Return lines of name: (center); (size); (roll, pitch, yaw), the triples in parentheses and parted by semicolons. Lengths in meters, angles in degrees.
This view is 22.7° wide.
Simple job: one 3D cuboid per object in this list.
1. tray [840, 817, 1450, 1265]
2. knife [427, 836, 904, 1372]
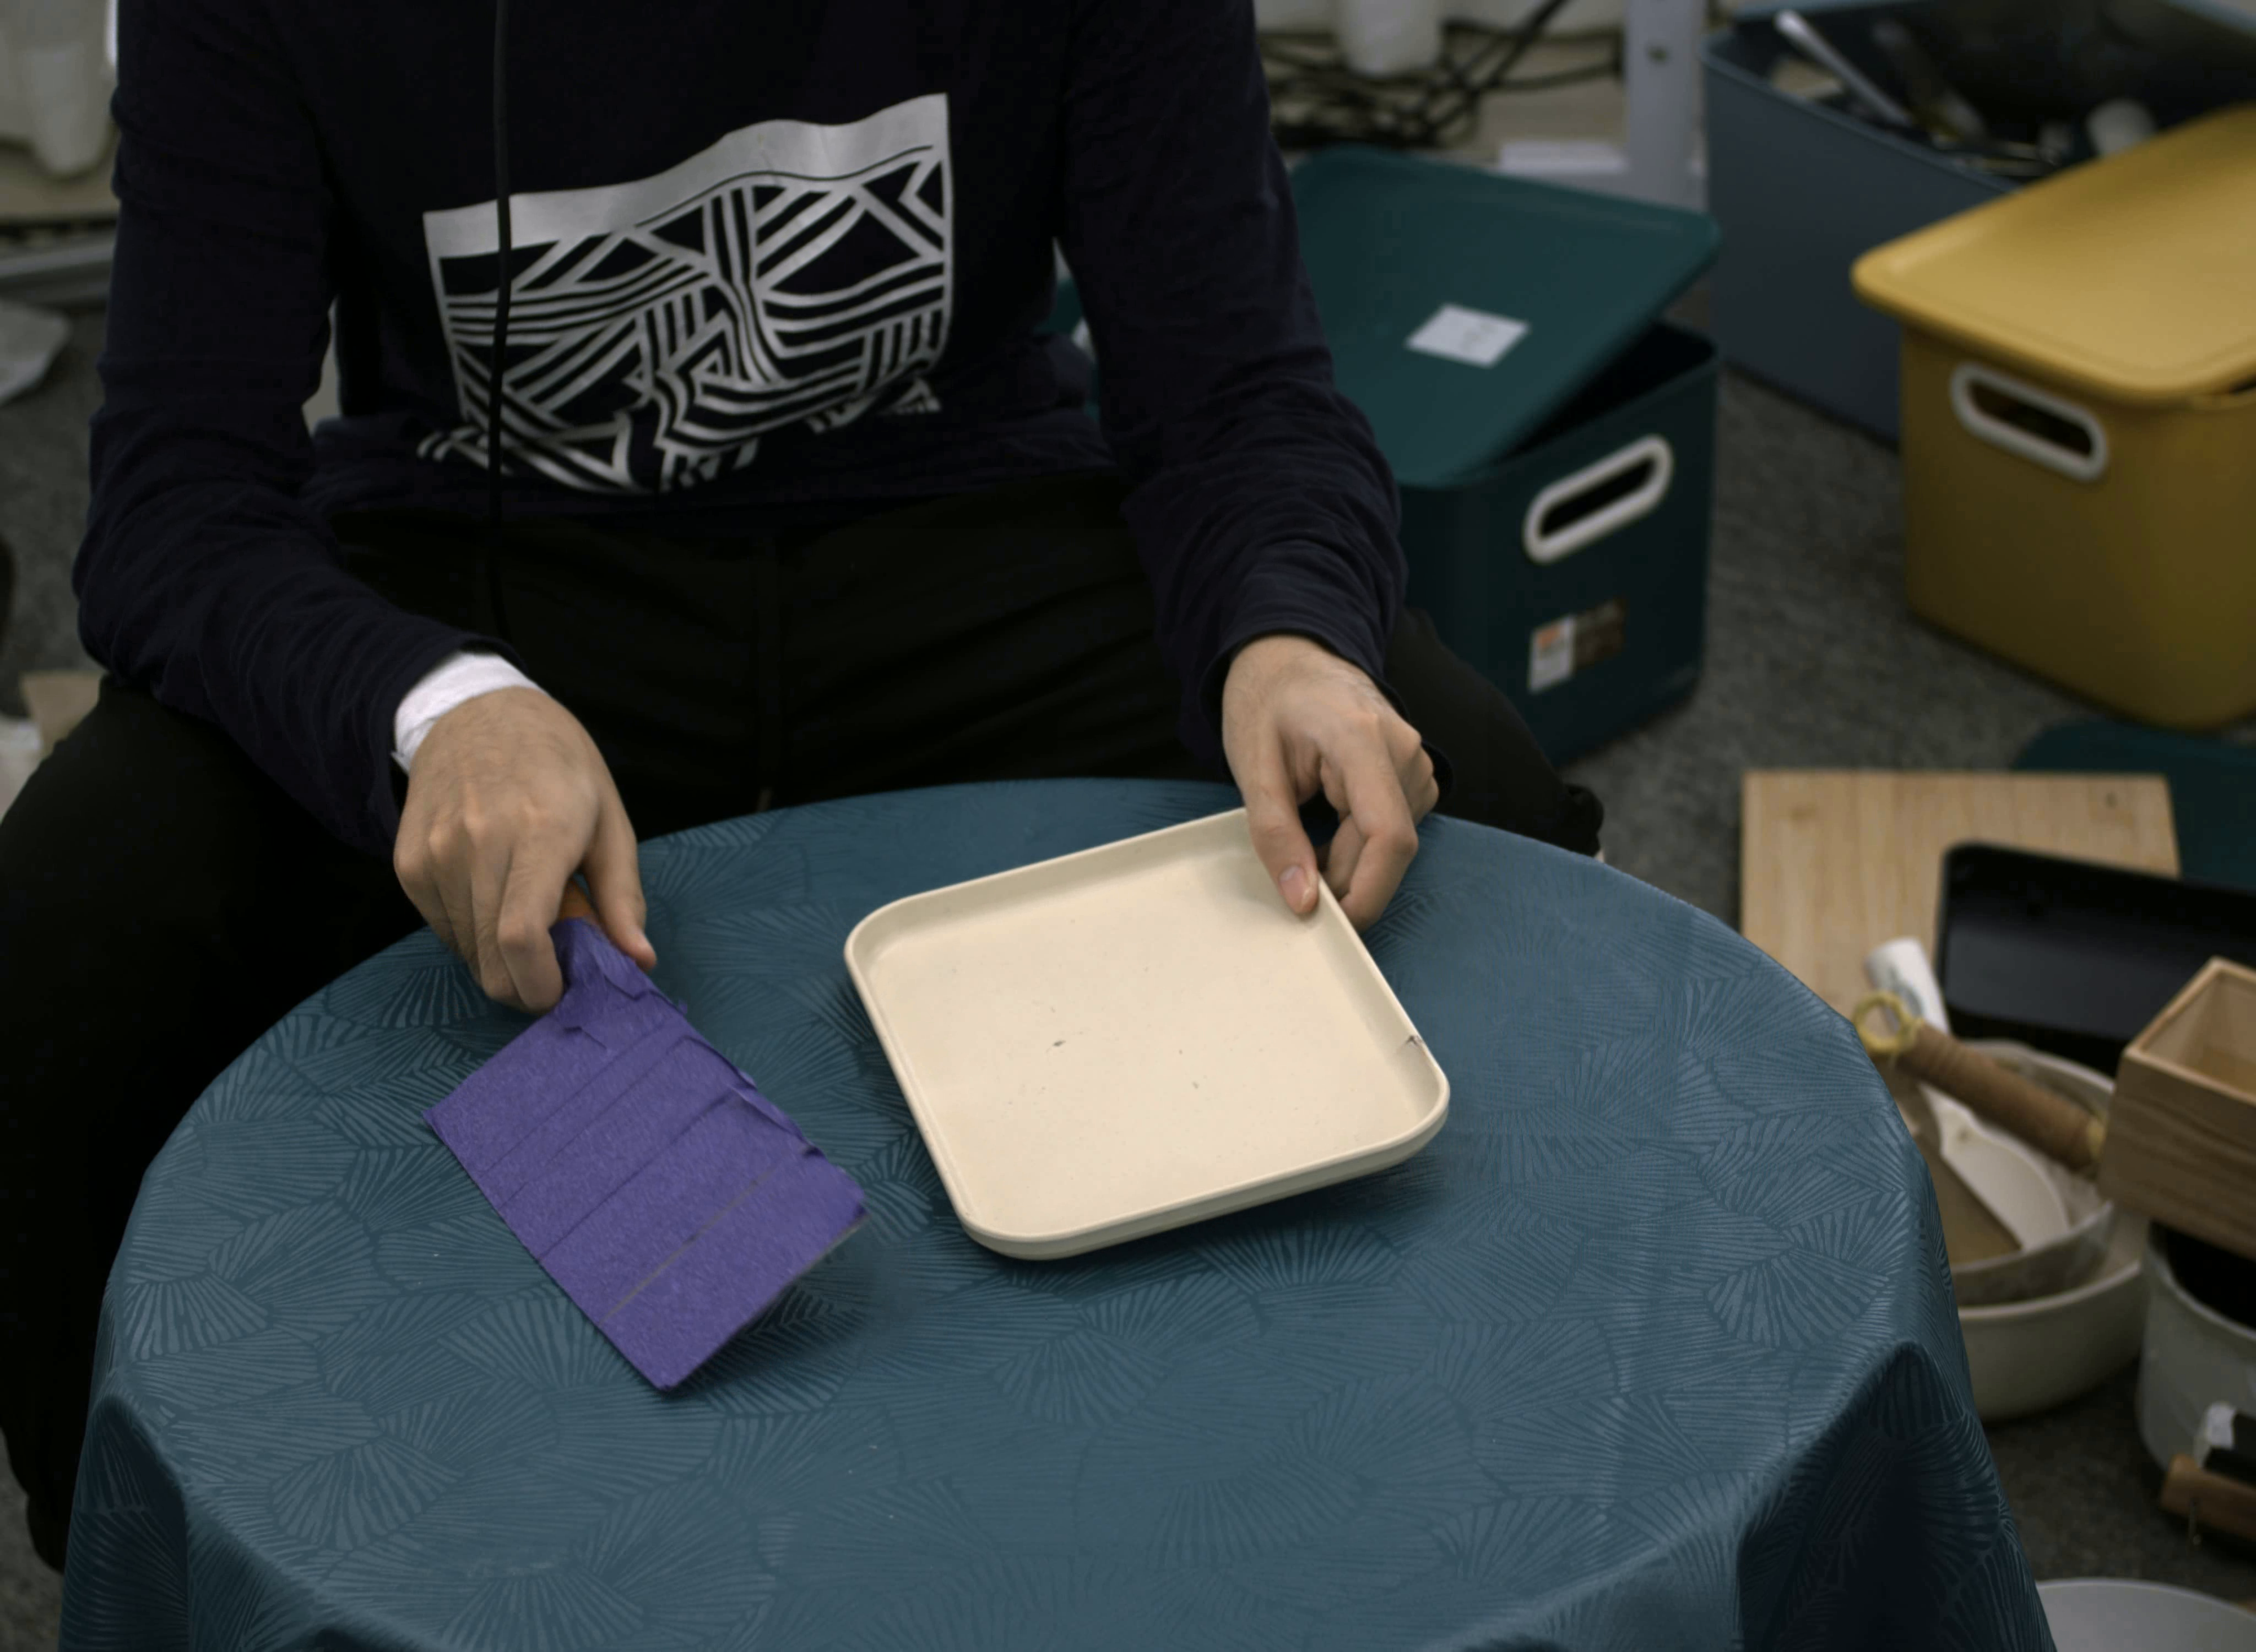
tray: (0.003, 0.072, 1.922); (0.171, 0.017, 0.242); (-15, 29, -9)
knife: (-0.183, 0.089, 1.885); (0.104, 0.032, 0.316); (-37, 34, -11)
